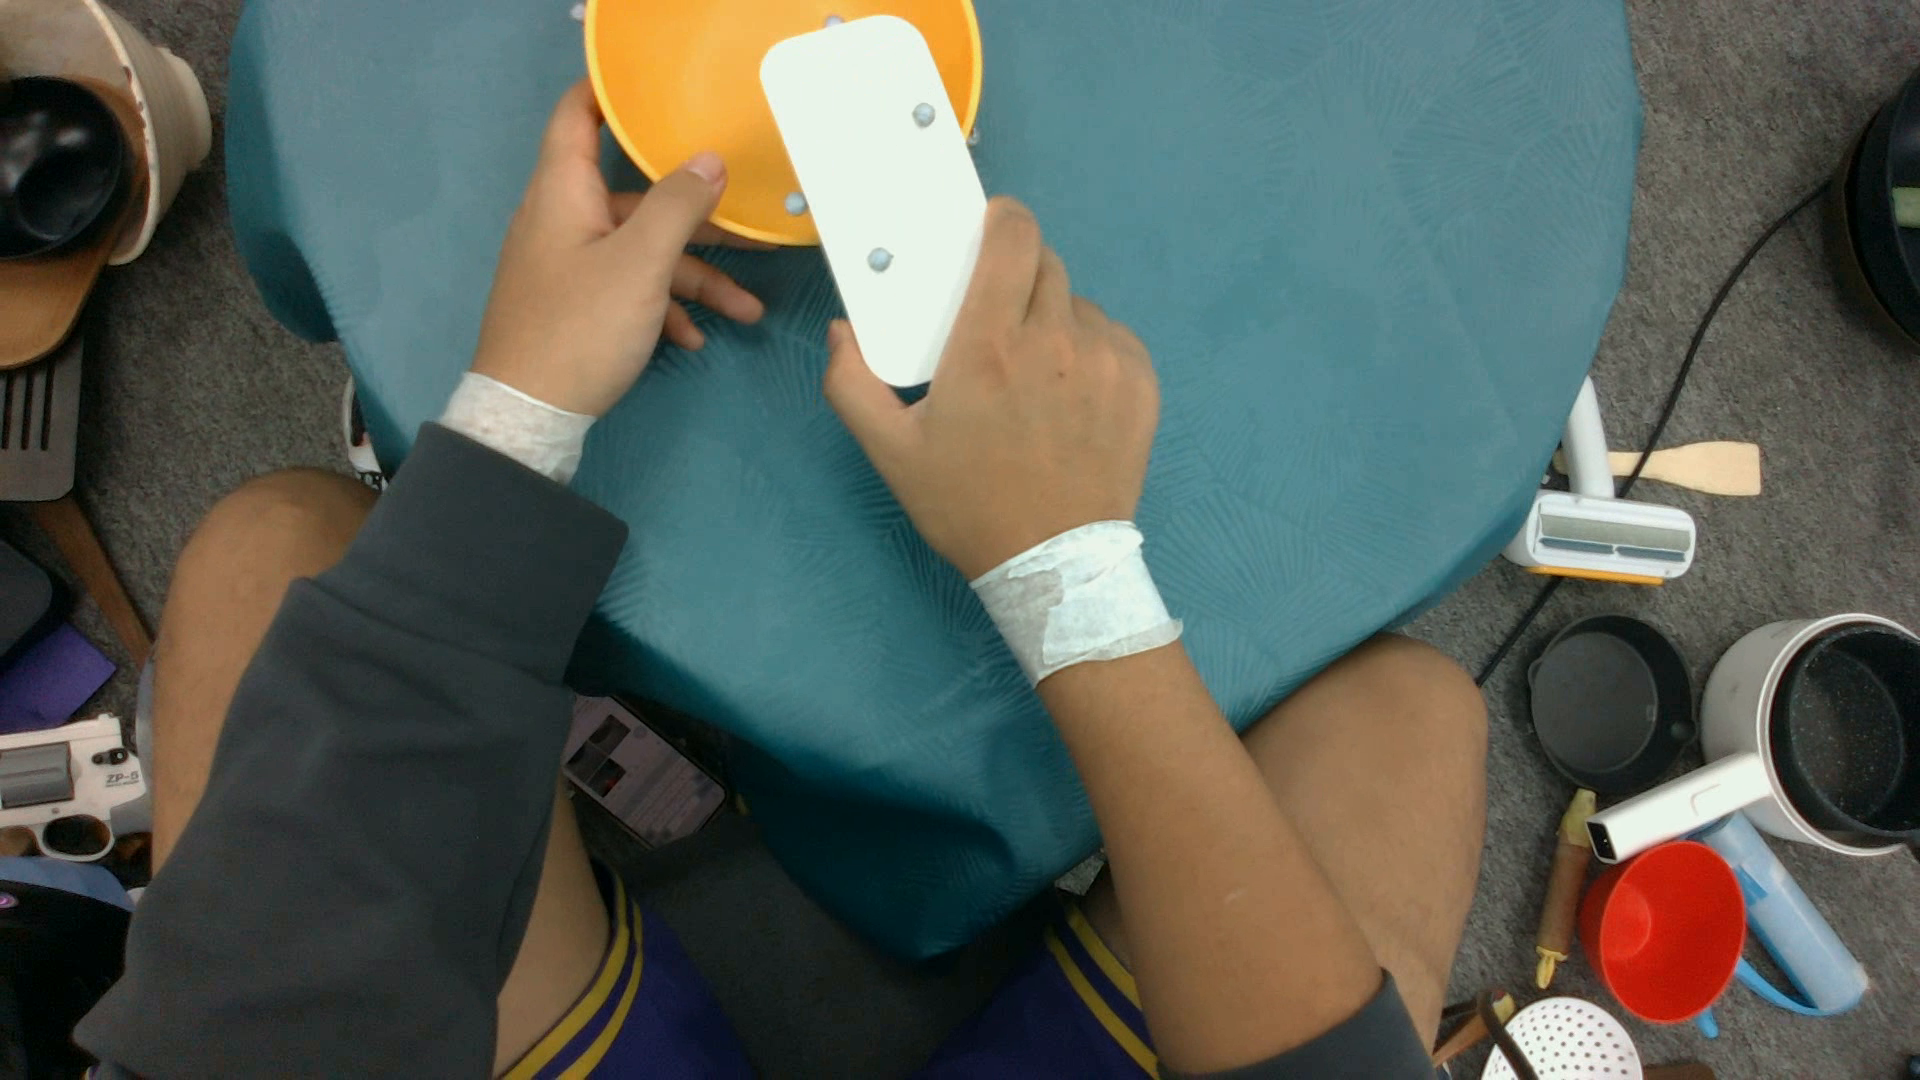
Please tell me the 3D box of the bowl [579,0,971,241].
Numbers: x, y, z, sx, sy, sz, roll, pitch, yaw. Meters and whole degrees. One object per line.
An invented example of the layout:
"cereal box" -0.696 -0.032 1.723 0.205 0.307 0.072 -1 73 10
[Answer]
"bowl" -0.072 -0.184 0.540 0.145 0.060 0.145 0 90 -12

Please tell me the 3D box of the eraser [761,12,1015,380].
"eraser" -0.028 -0.124 0.501 0.063 0.034 0.131 -18 87 -11
